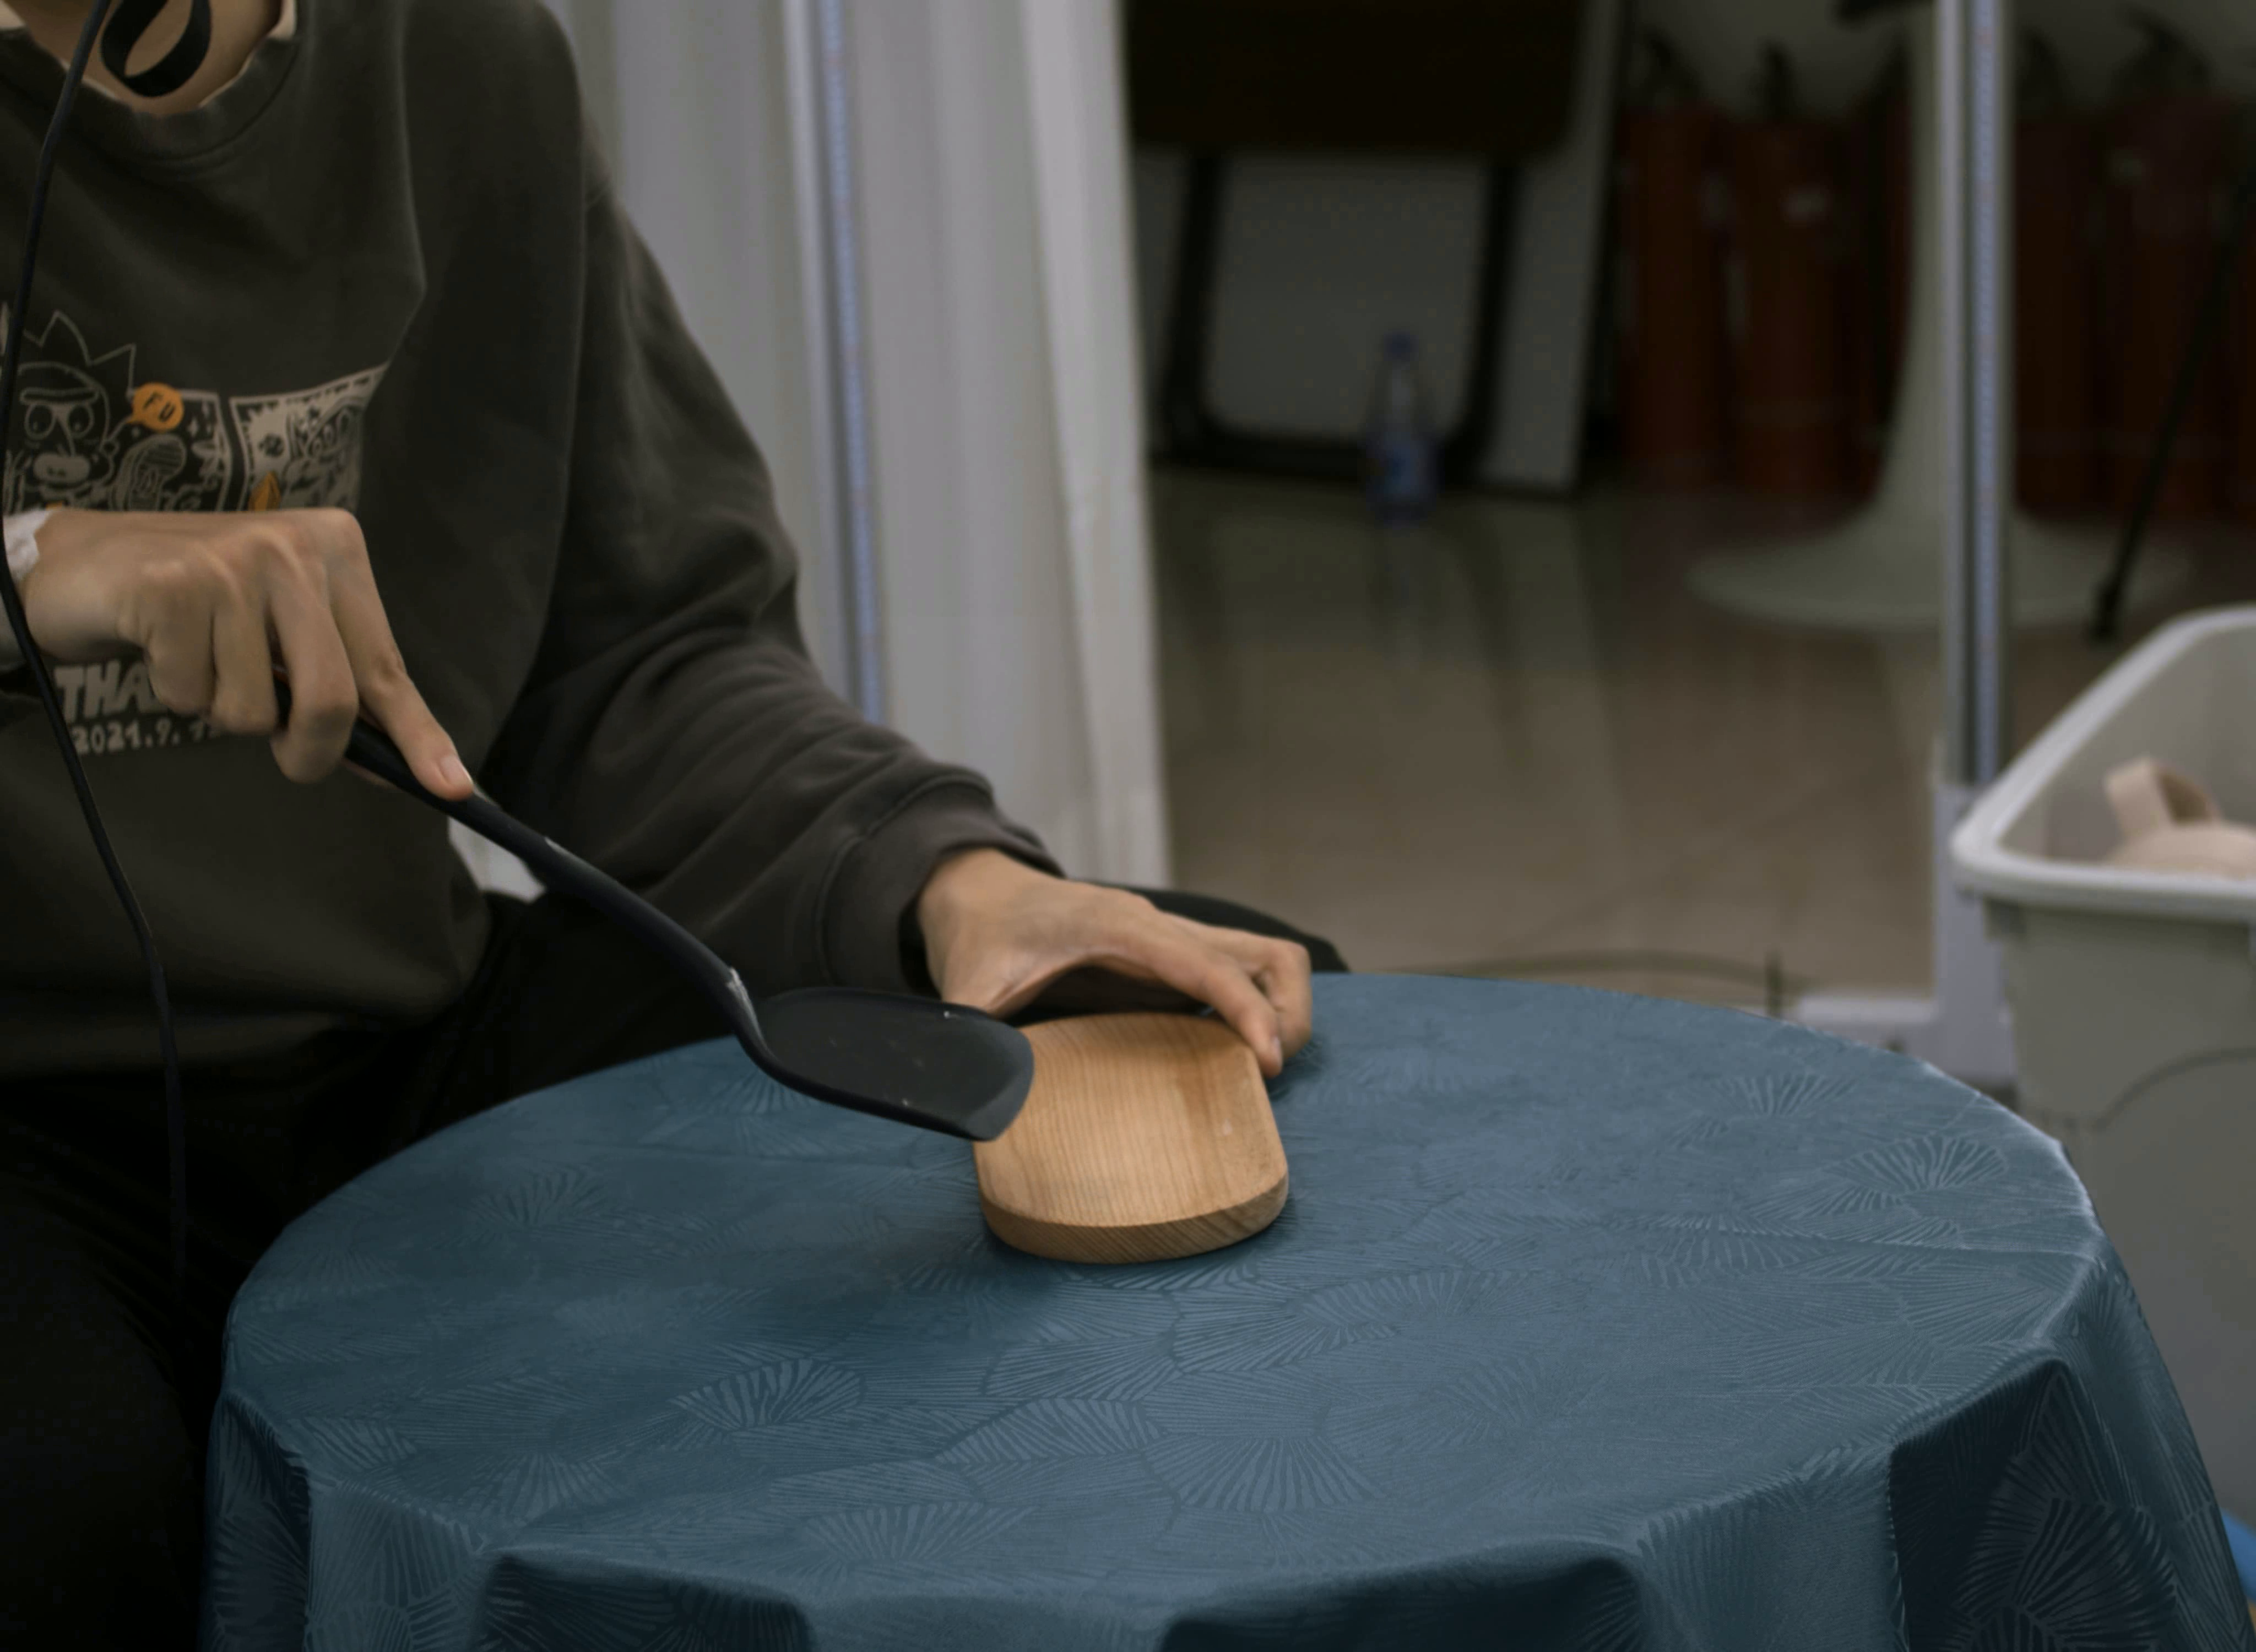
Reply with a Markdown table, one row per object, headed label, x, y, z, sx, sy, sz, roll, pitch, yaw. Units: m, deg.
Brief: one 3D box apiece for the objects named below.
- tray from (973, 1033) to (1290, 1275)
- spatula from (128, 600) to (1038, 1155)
| label | x | y | z | sx | sy | sz | roll | pitch | yaw |
| --- | --- | --- | --- | --- | --- | --- | --- | --- | --- |
| tray | -0.001 | 0.107 | 1.803 | 0.100 | 0.020 | 0.232 | -6 | 15 | -2 |
| spatula | -0.173 | 0.012 | 1.710 | 0.324 | 0.040 | 0.099 | 35 | 17 | -3 |
